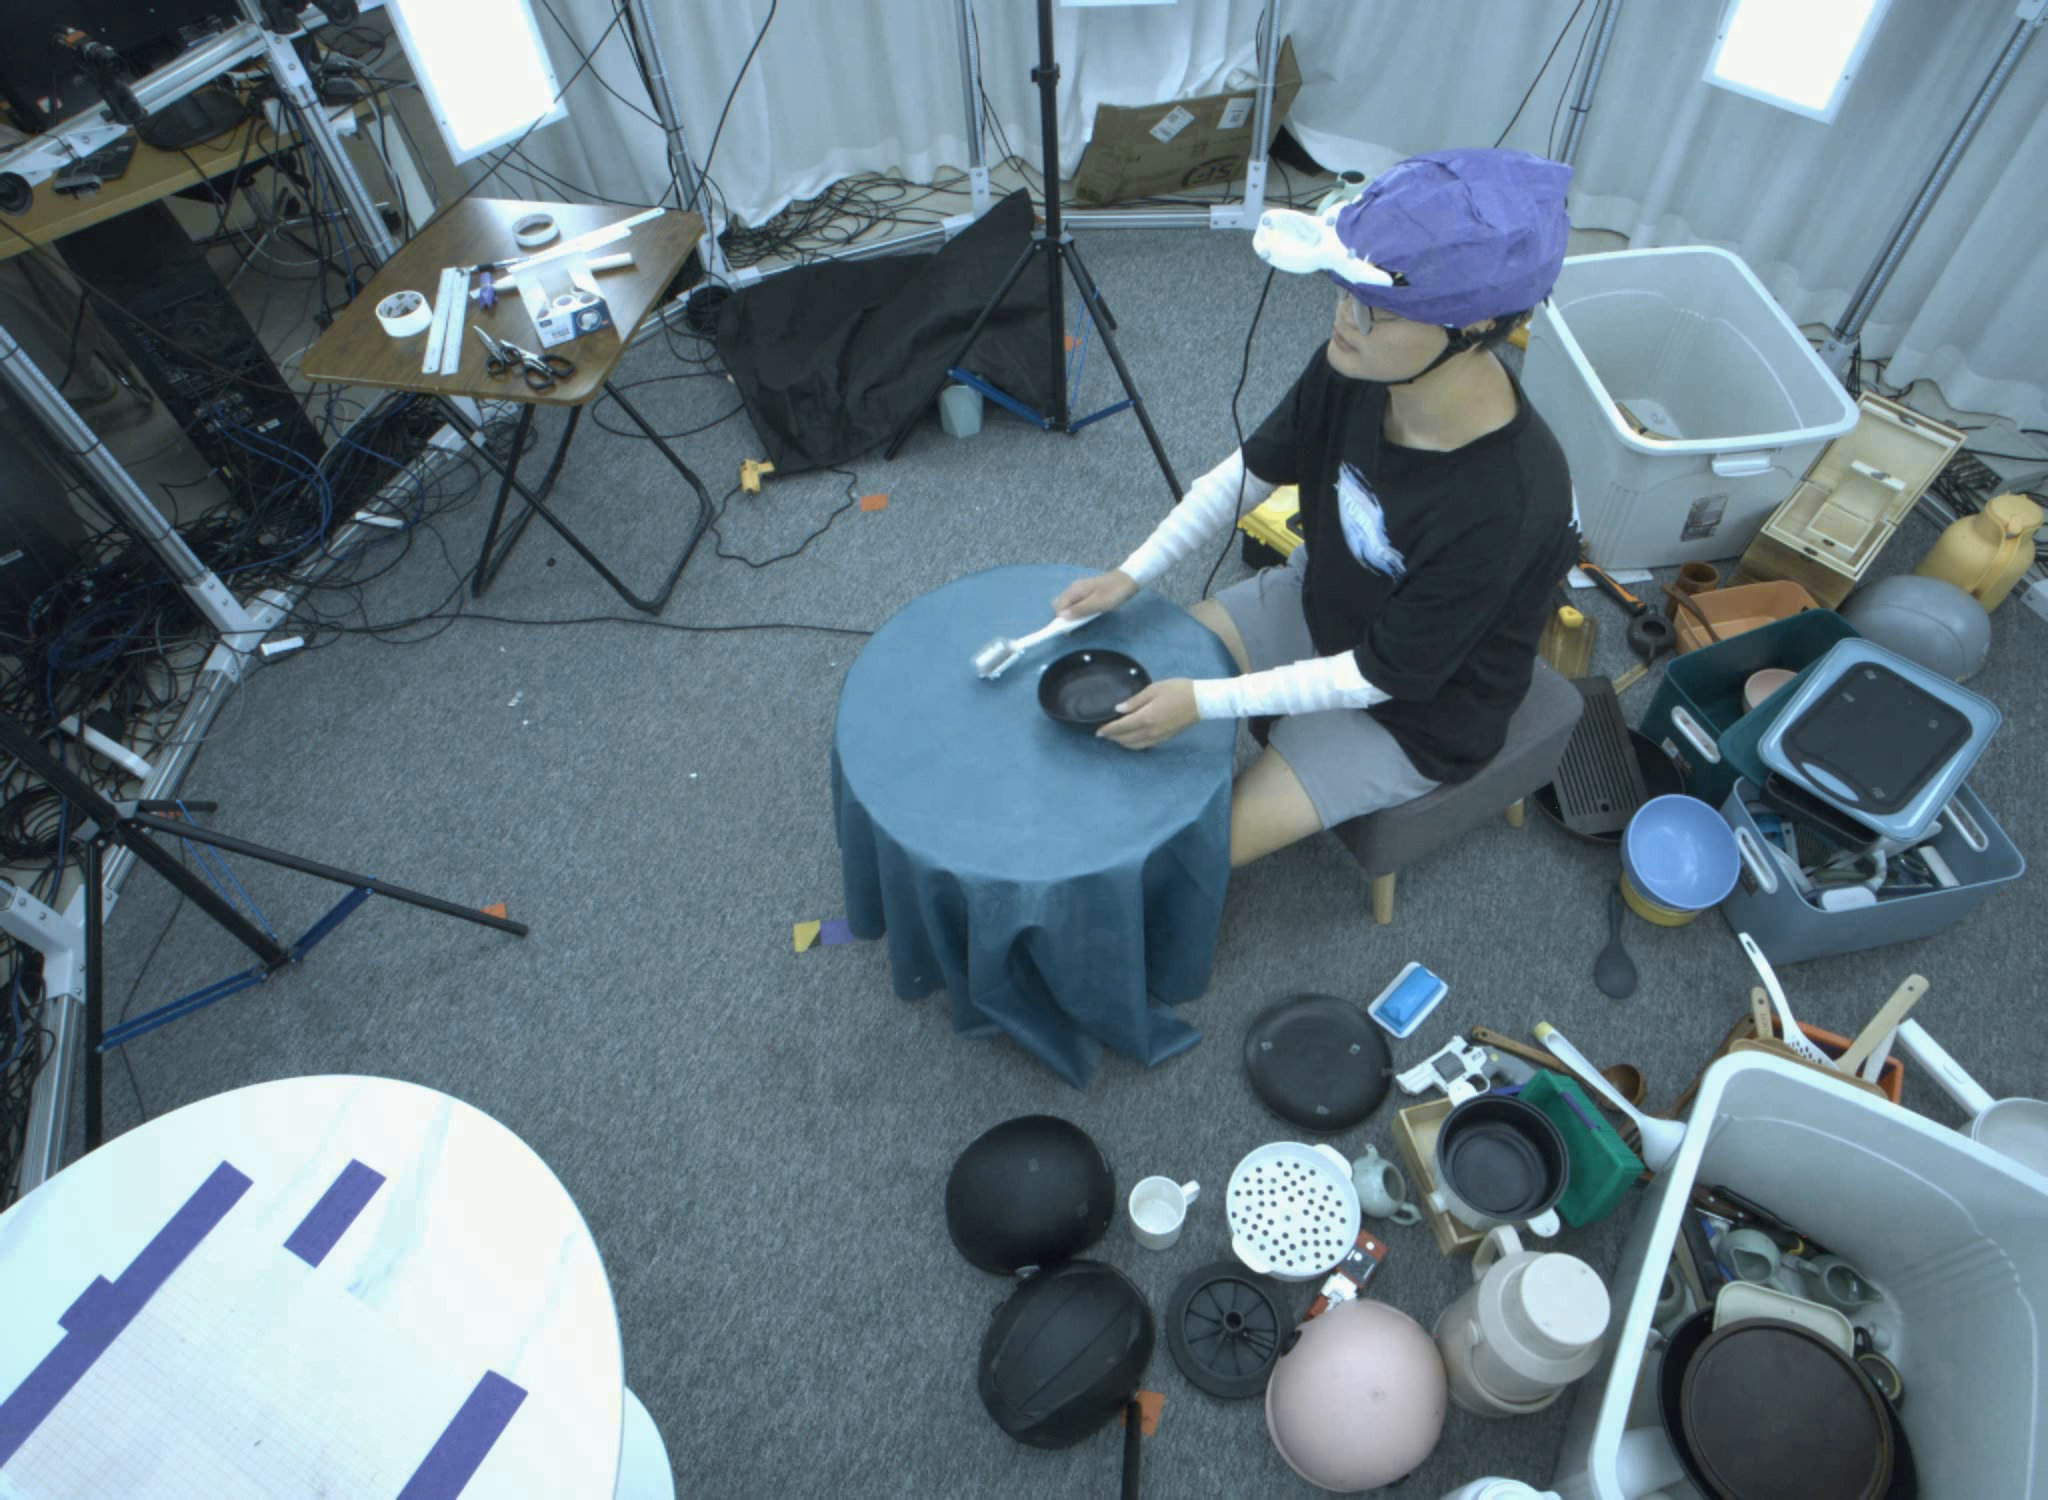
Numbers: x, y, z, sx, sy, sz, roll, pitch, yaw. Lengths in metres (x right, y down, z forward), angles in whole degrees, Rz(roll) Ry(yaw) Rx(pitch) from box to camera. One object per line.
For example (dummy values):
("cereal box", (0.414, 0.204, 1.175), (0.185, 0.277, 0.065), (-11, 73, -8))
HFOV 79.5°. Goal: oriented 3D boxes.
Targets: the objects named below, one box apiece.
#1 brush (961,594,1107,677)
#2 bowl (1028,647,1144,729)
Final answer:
("brush", (0.017, -0.184, 1.854), (0.244, 0.051, 0.034), (-29, 60, -7))
("bowl", (0.089, -0.081, 1.794), (0.171, 0.067, 0.135), (-14, 55, -10))
